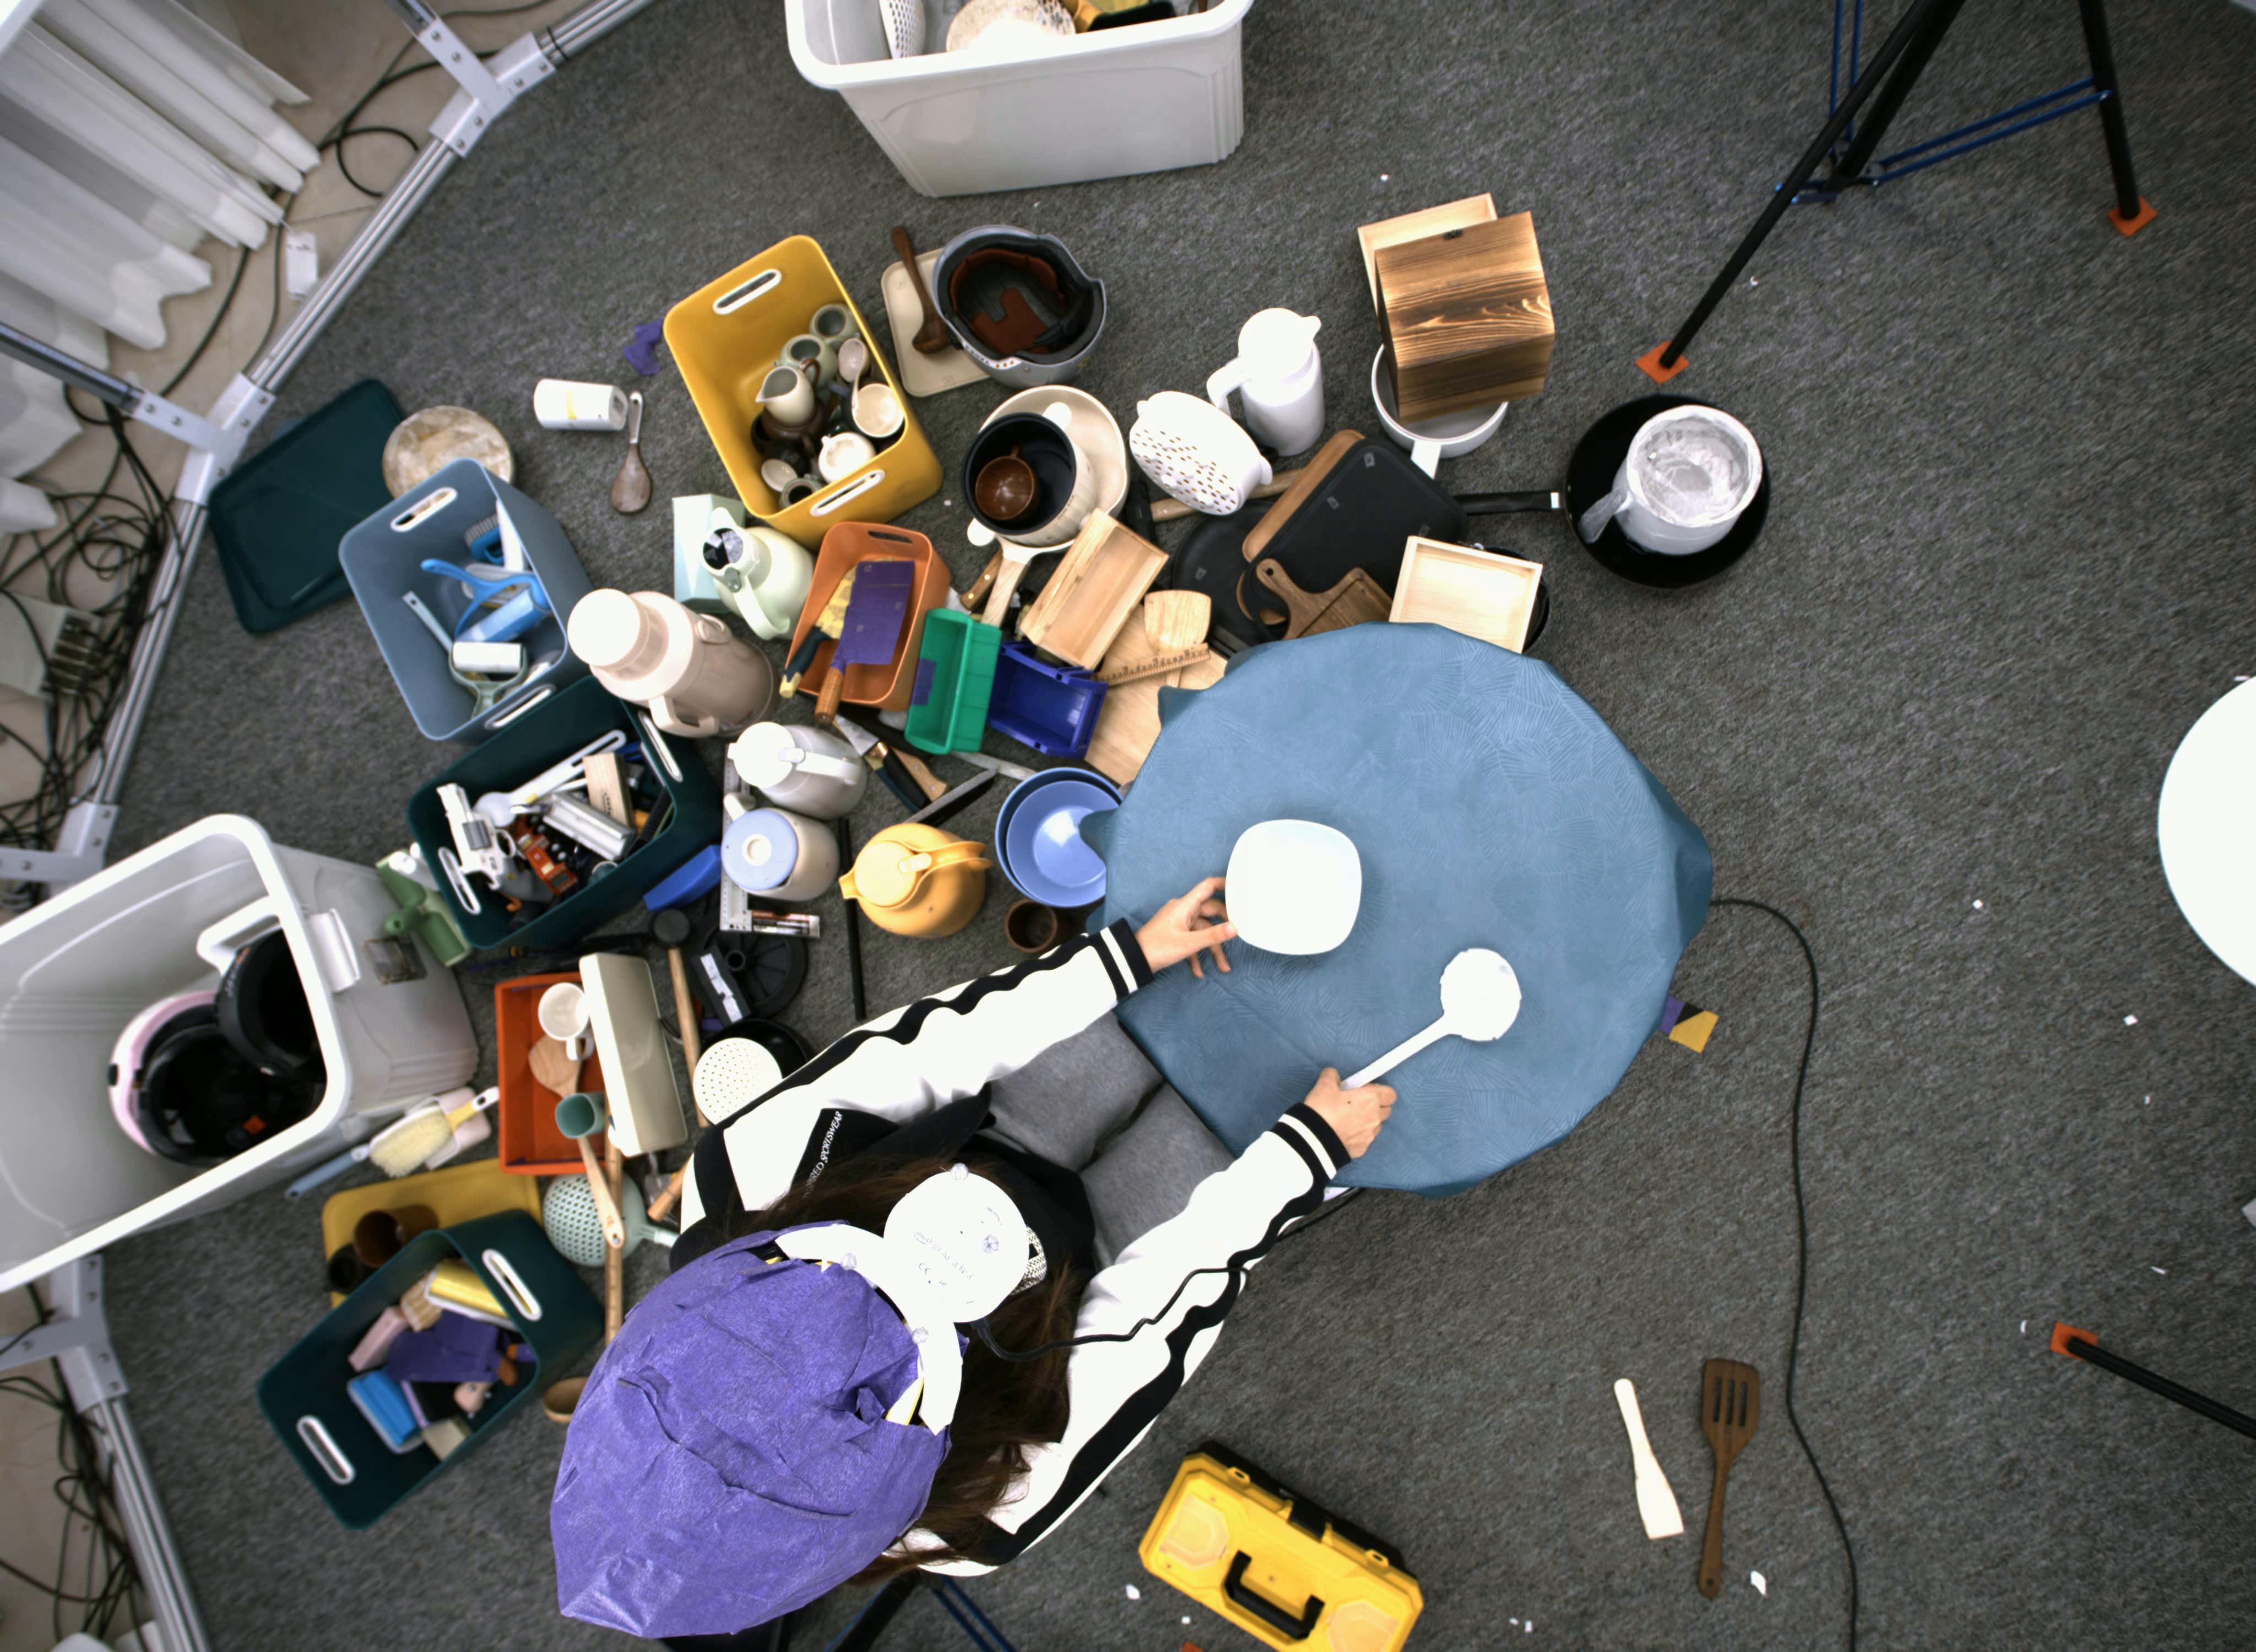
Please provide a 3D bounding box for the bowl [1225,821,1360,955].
[{"bbox_3d":[0.174,0.066,1.452,0.152,0.058,0.151,-1,86,11],"label":"bowl"}]

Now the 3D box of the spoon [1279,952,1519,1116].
[{"bbox_3d":[0.271,0.219,1.422,0.279,0.060,0.099,-29,59,7],"label":"spoon"}]
